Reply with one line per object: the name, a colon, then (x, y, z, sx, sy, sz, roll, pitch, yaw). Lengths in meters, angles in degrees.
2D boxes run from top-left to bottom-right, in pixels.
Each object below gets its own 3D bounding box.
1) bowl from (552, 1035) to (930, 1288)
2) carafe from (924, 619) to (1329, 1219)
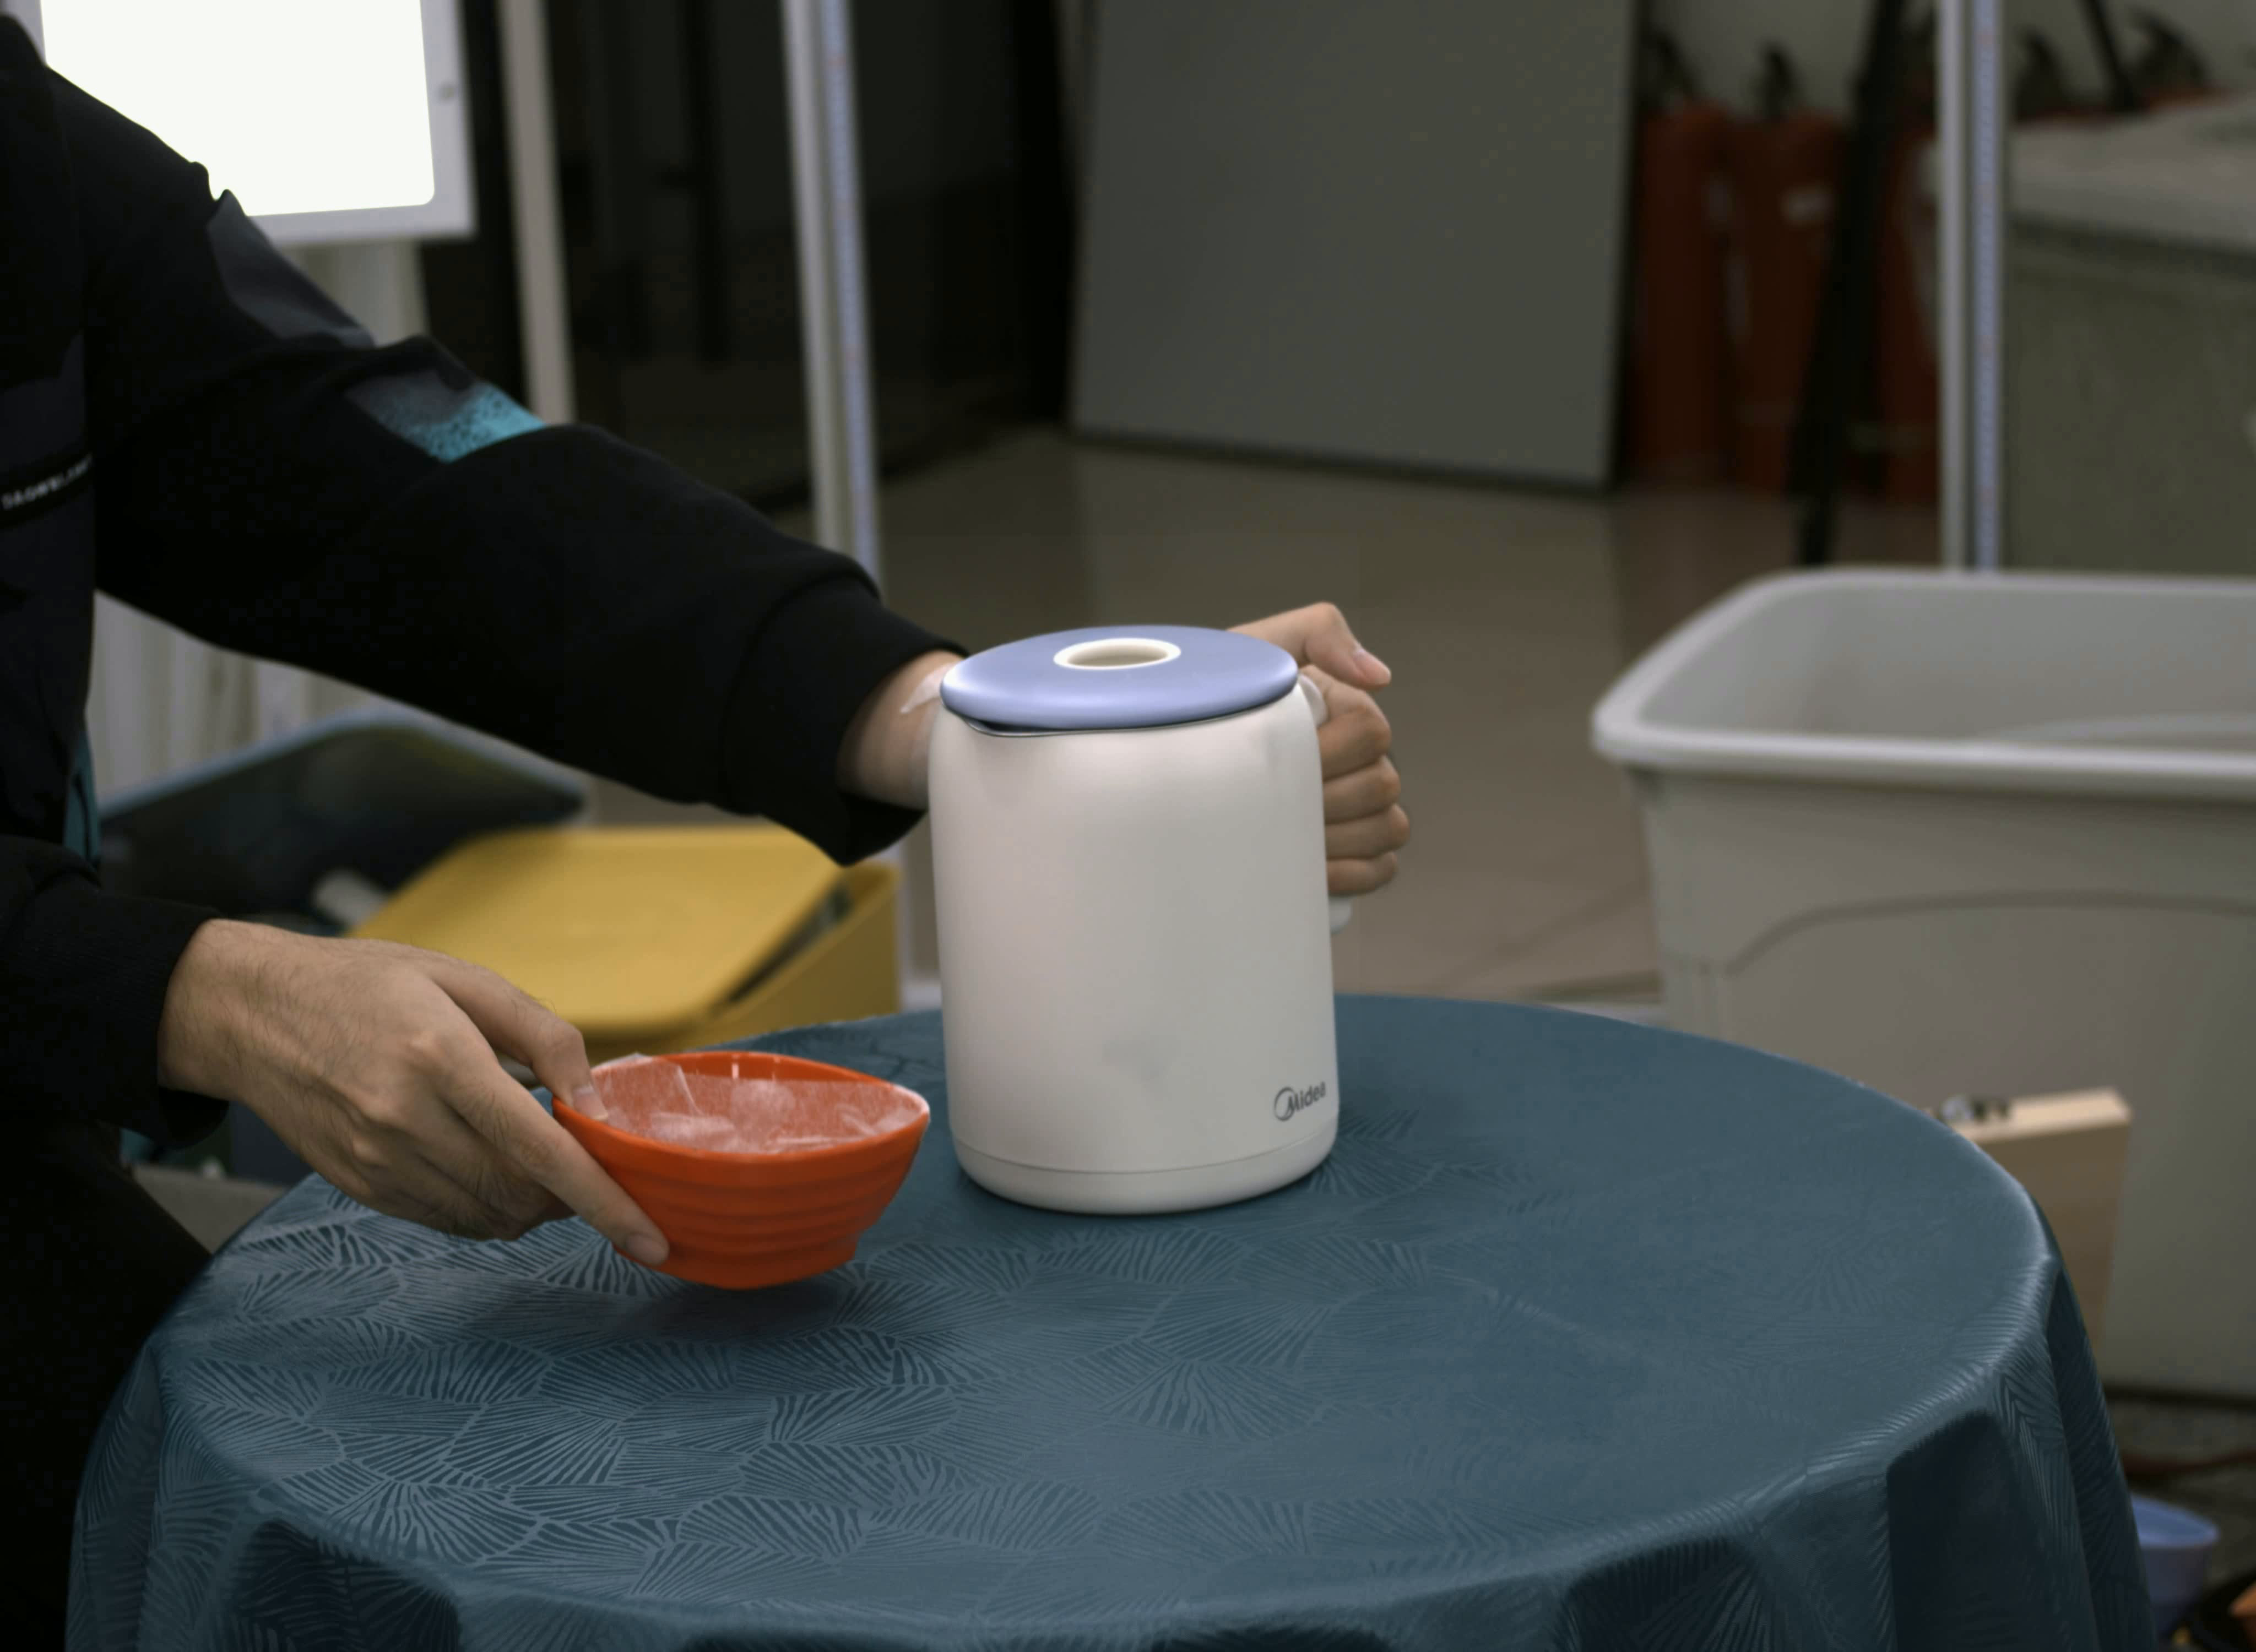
bowl: (-0.121, 0.106, 1.683, 0.117, 0.052, 0.119, 3, 15, -2)
carafe: (0.013, 0.025, 1.801, 0.133, 0.184, 0.188, 7, 15, 34)
